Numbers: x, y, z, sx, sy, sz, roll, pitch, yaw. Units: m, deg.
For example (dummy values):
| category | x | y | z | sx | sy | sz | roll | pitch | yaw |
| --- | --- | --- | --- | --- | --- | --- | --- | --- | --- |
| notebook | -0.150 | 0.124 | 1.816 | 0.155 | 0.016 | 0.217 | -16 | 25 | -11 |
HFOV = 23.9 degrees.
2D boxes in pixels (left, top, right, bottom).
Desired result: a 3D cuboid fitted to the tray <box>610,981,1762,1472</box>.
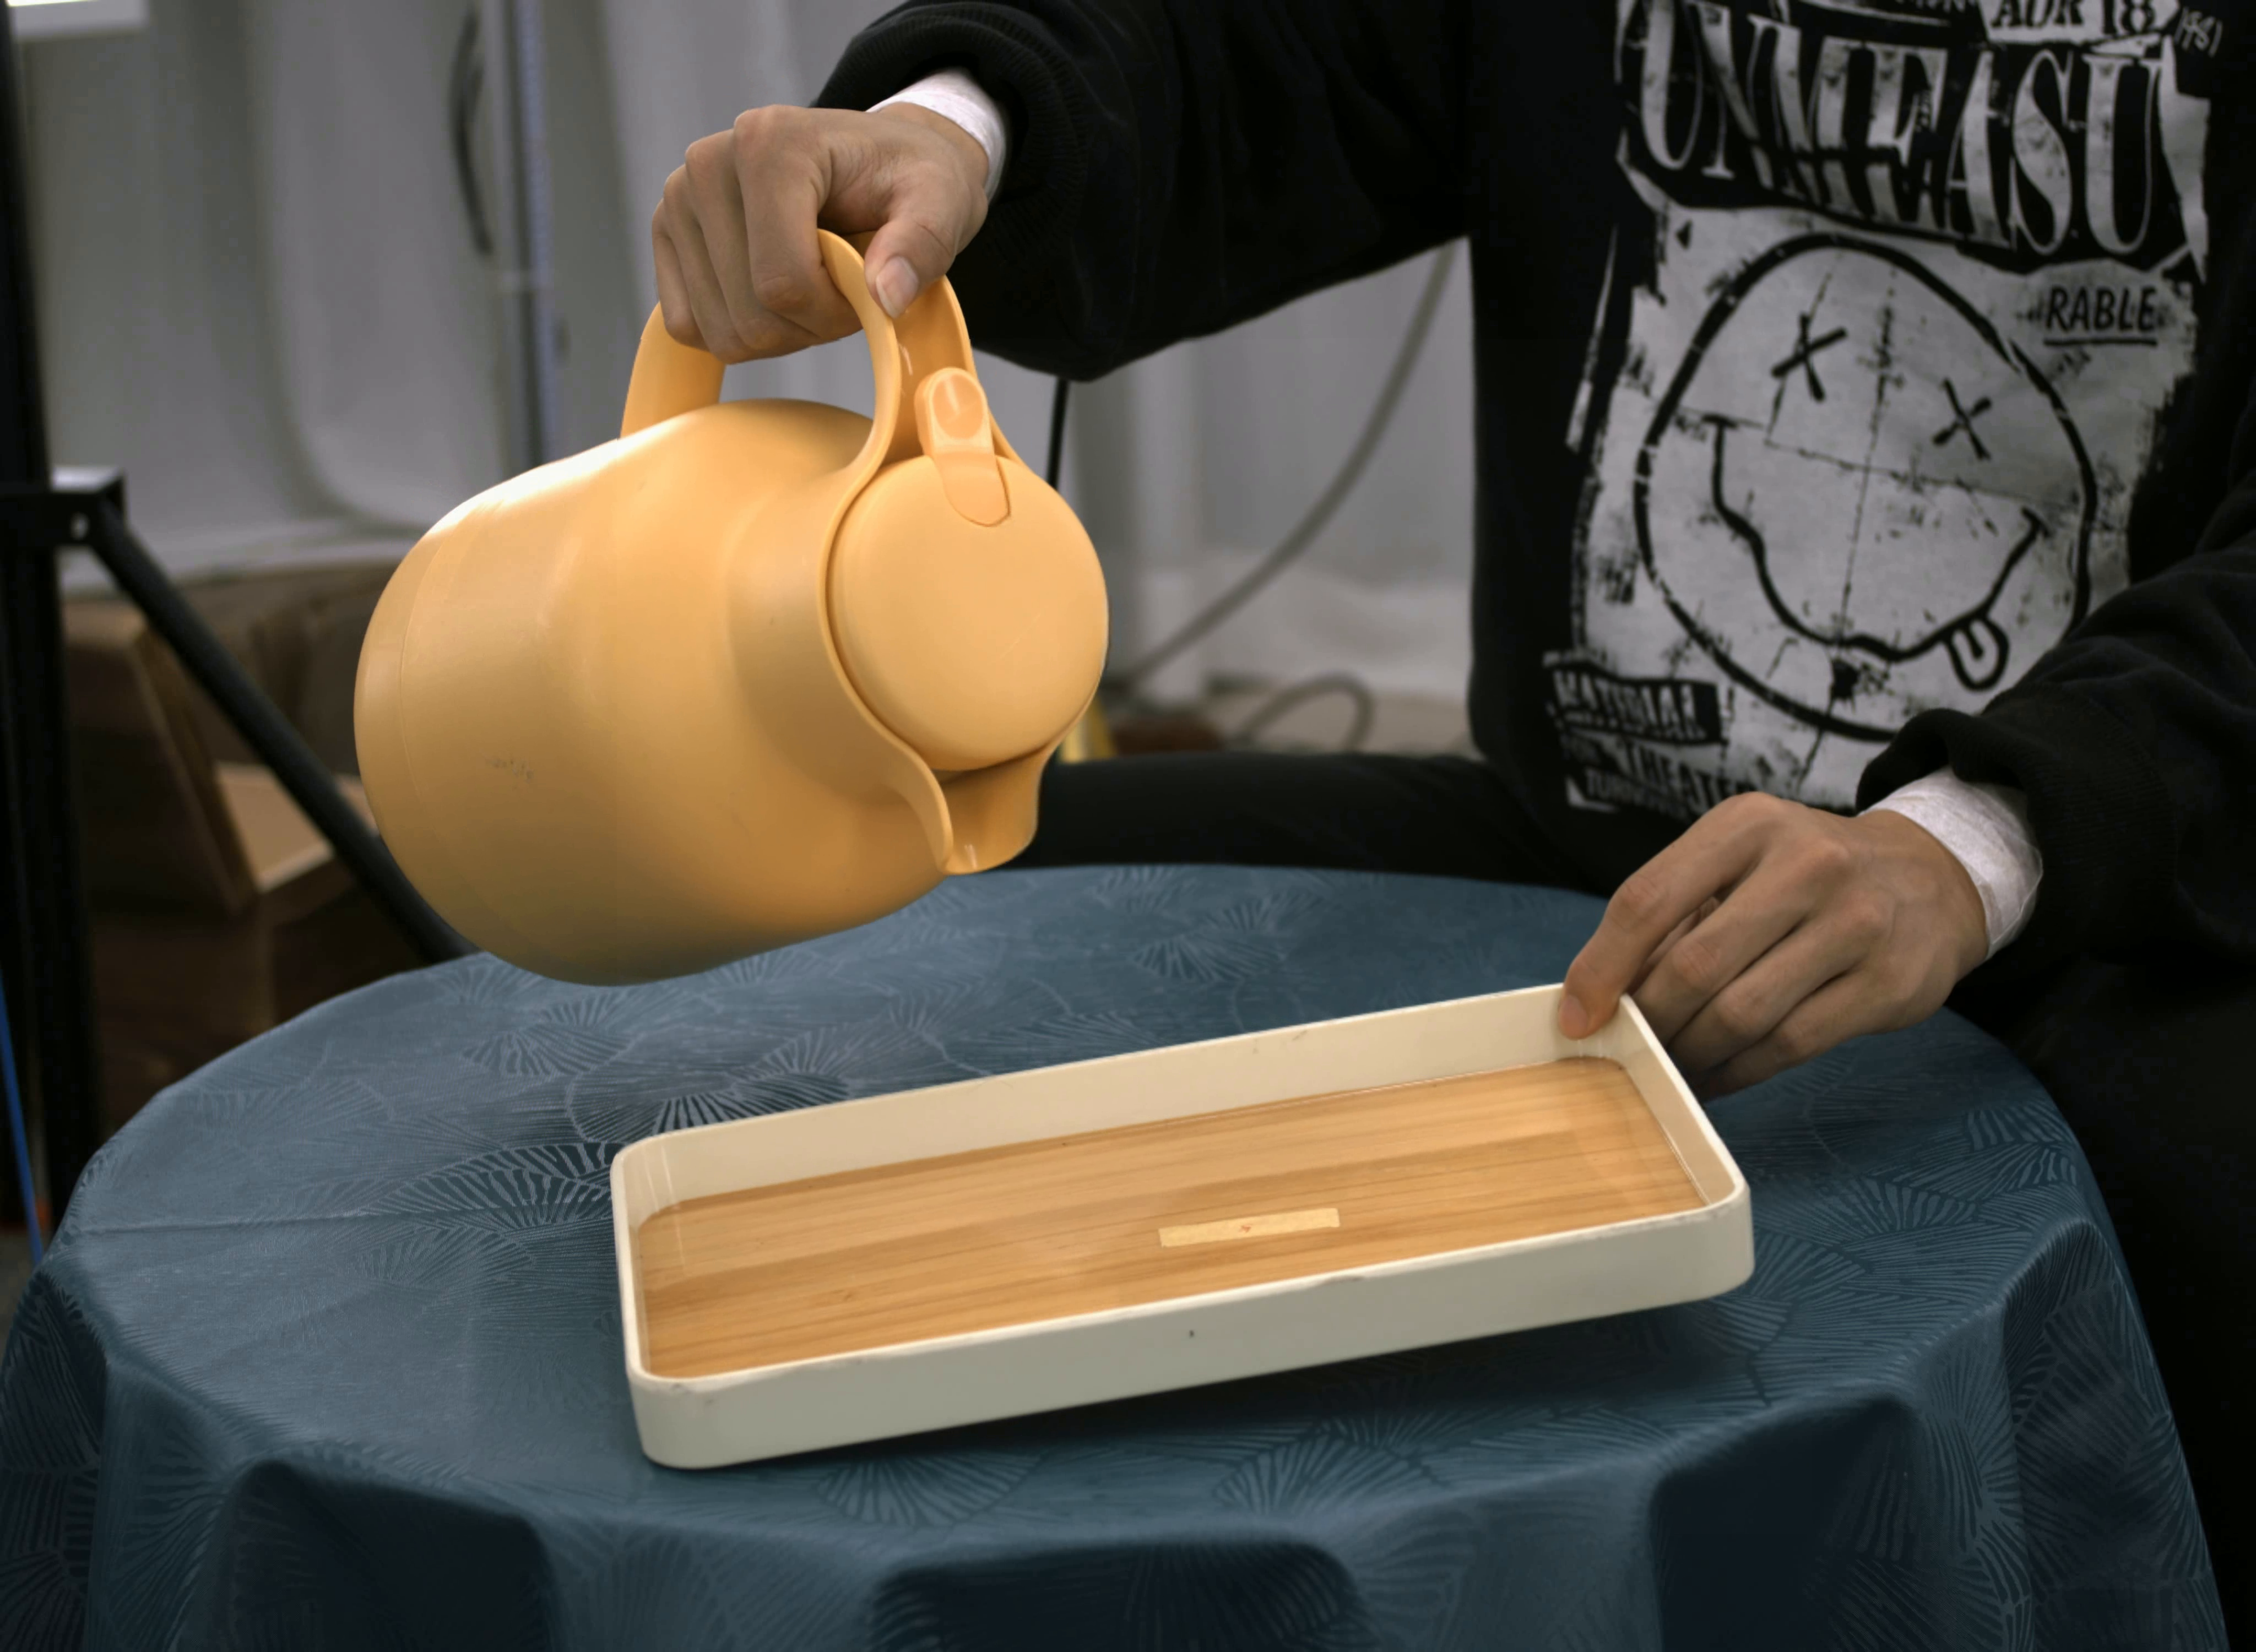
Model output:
| category | x | y | z | sx | sy | sz | roll | pitch | yaw |
| --- | --- | --- | --- | --- | --- | --- | --- | --- | --- |
| tray | 0.010 | 0.107 | 1.453 | 0.298 | 0.027 | 0.193 | -9 | 18 | -2 |

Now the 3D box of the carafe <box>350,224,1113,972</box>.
| category | x | y | z | sx | sy | sz | roll | pitch | yaw |
| --- | --- | --- | --- | --- | --- | --- | --- | --- | --- |
| carafe | -0.110 | -0.066 | 1.581 | 0.159 | 0.204 | 0.265 | 1 | -7 | -36 |
